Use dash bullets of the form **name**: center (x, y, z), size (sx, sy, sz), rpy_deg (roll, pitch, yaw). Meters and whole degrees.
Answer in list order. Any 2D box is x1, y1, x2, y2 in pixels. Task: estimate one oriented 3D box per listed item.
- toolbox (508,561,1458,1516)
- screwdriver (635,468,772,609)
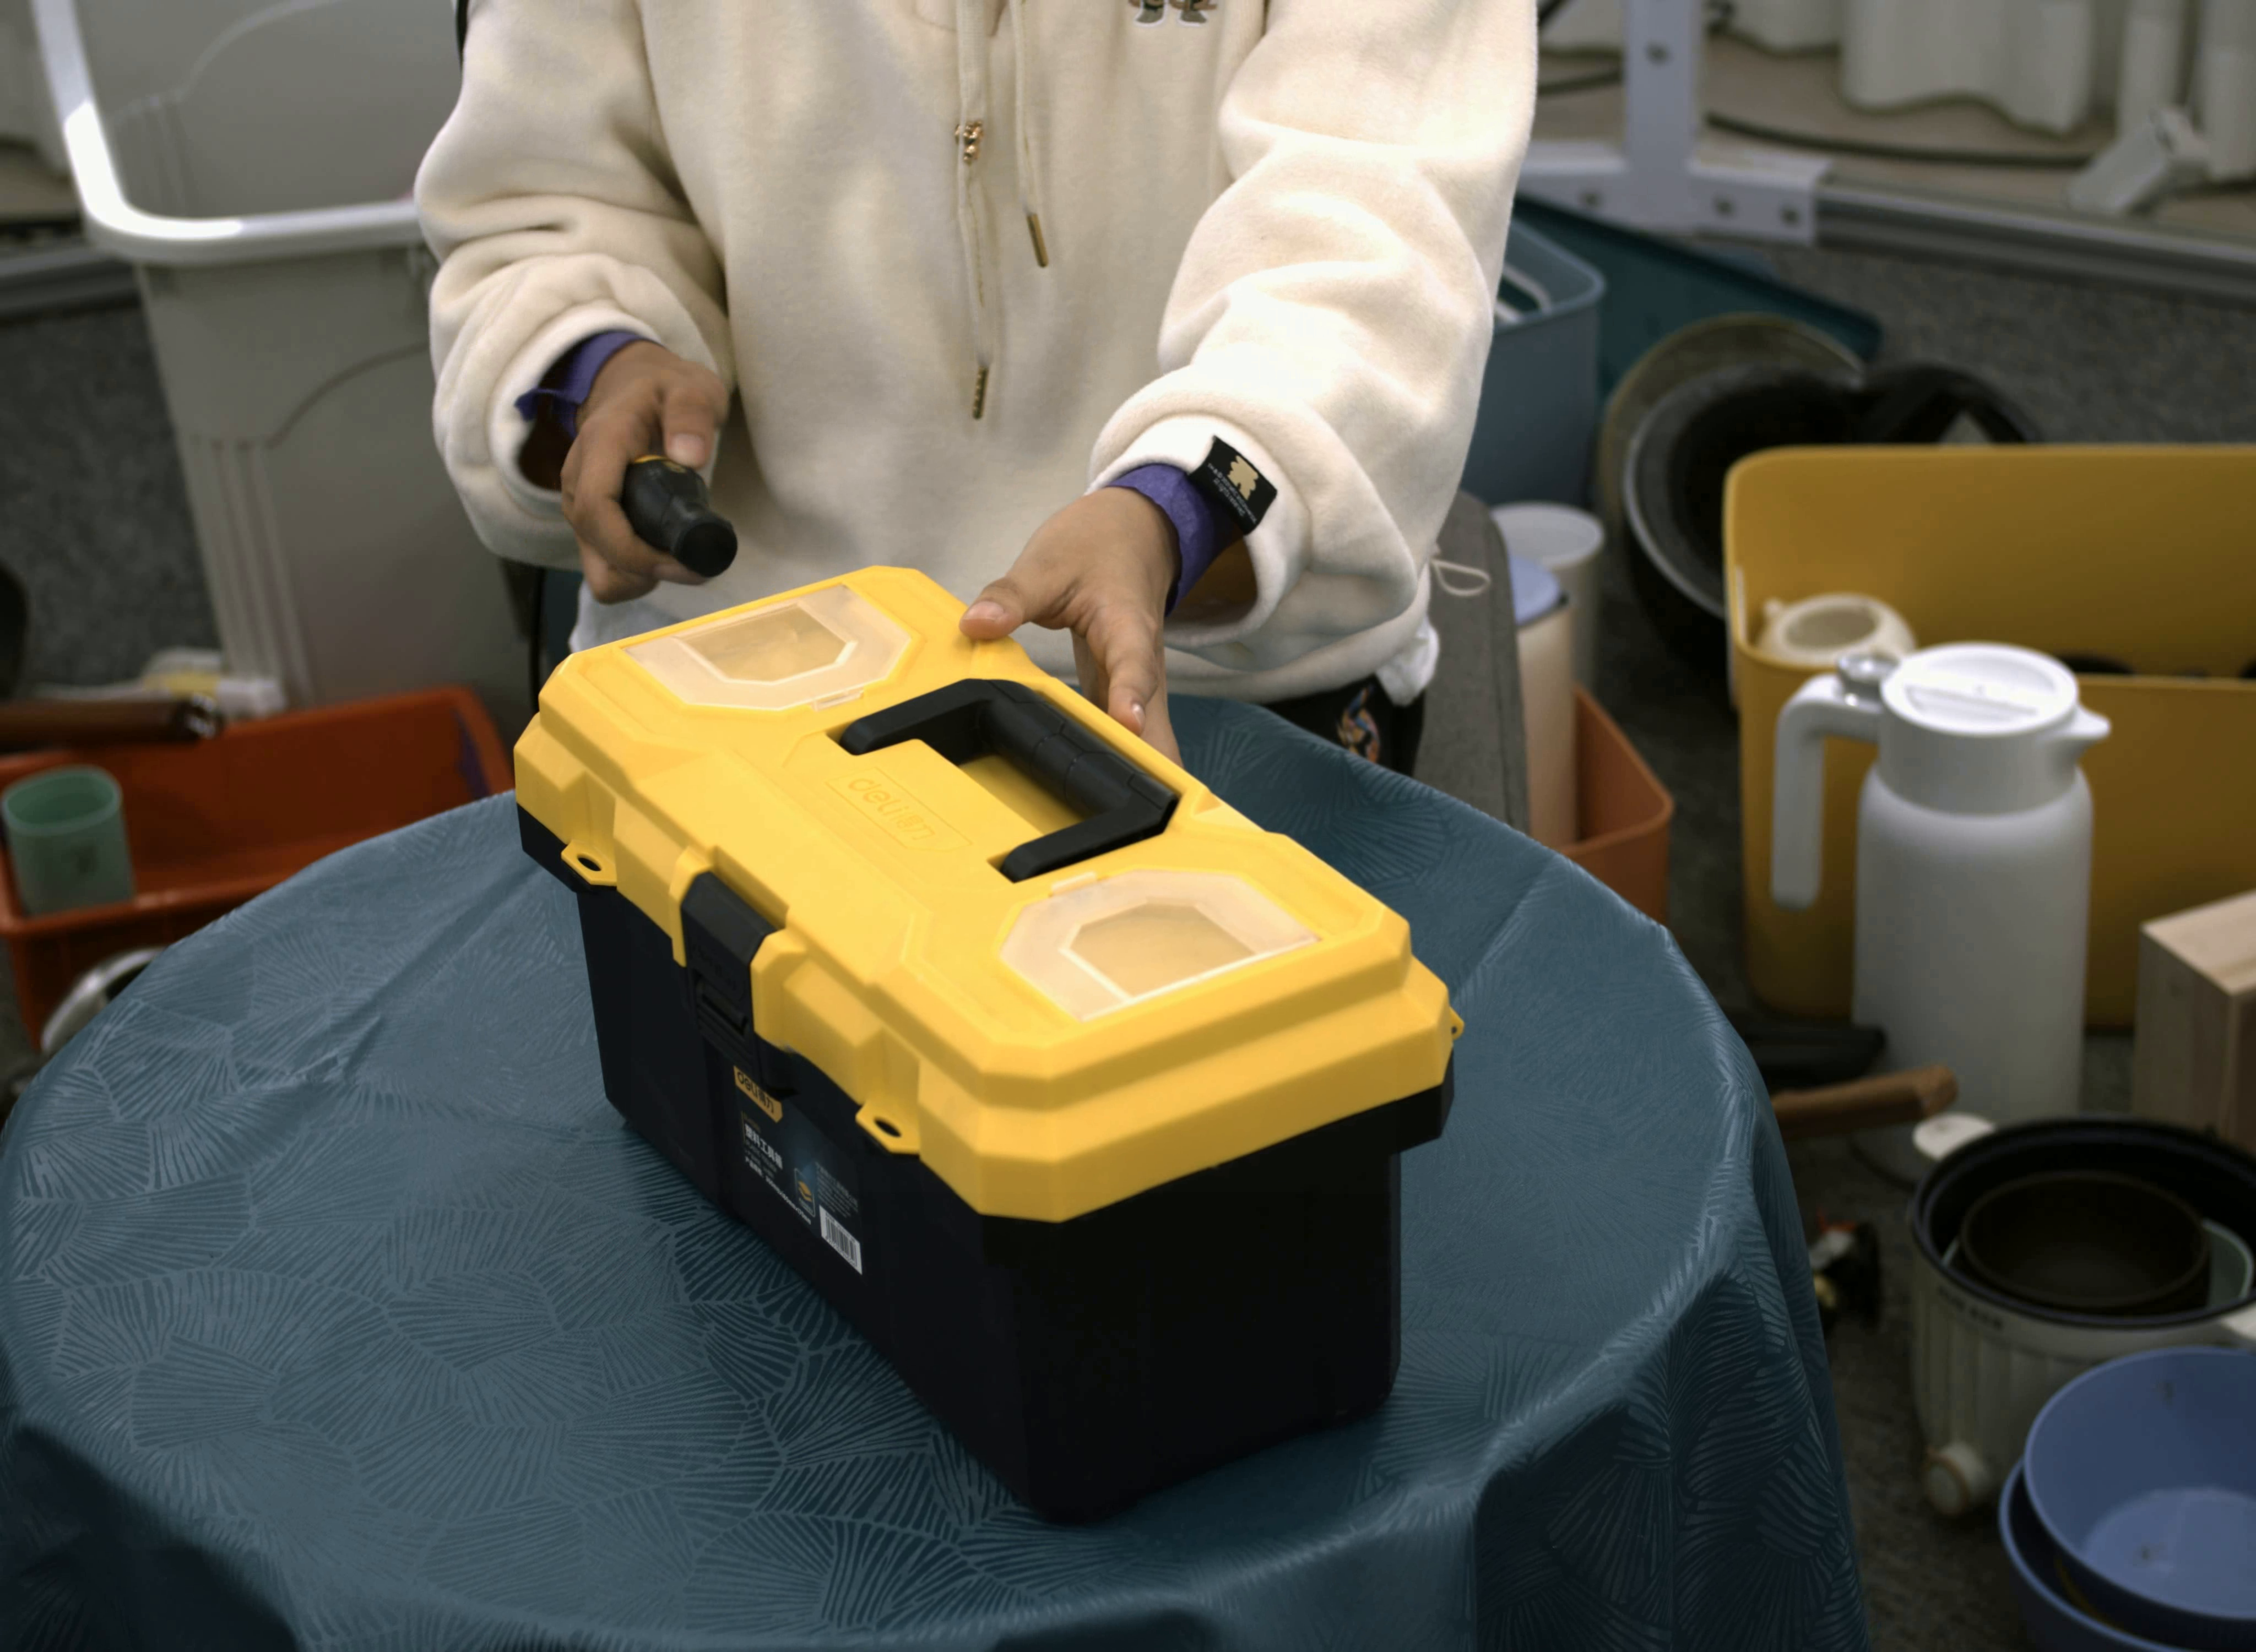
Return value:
- **toolbox**: center (-0.051, 0.061, 1.796), size (0.182, 0.171, 0.353), rpy_deg (-17, 30, -26)
- **screwdriver**: center (-0.143, -0.094, 1.999), size (0.031, 0.031, 0.199), rpy_deg (-11, 20, -15)
